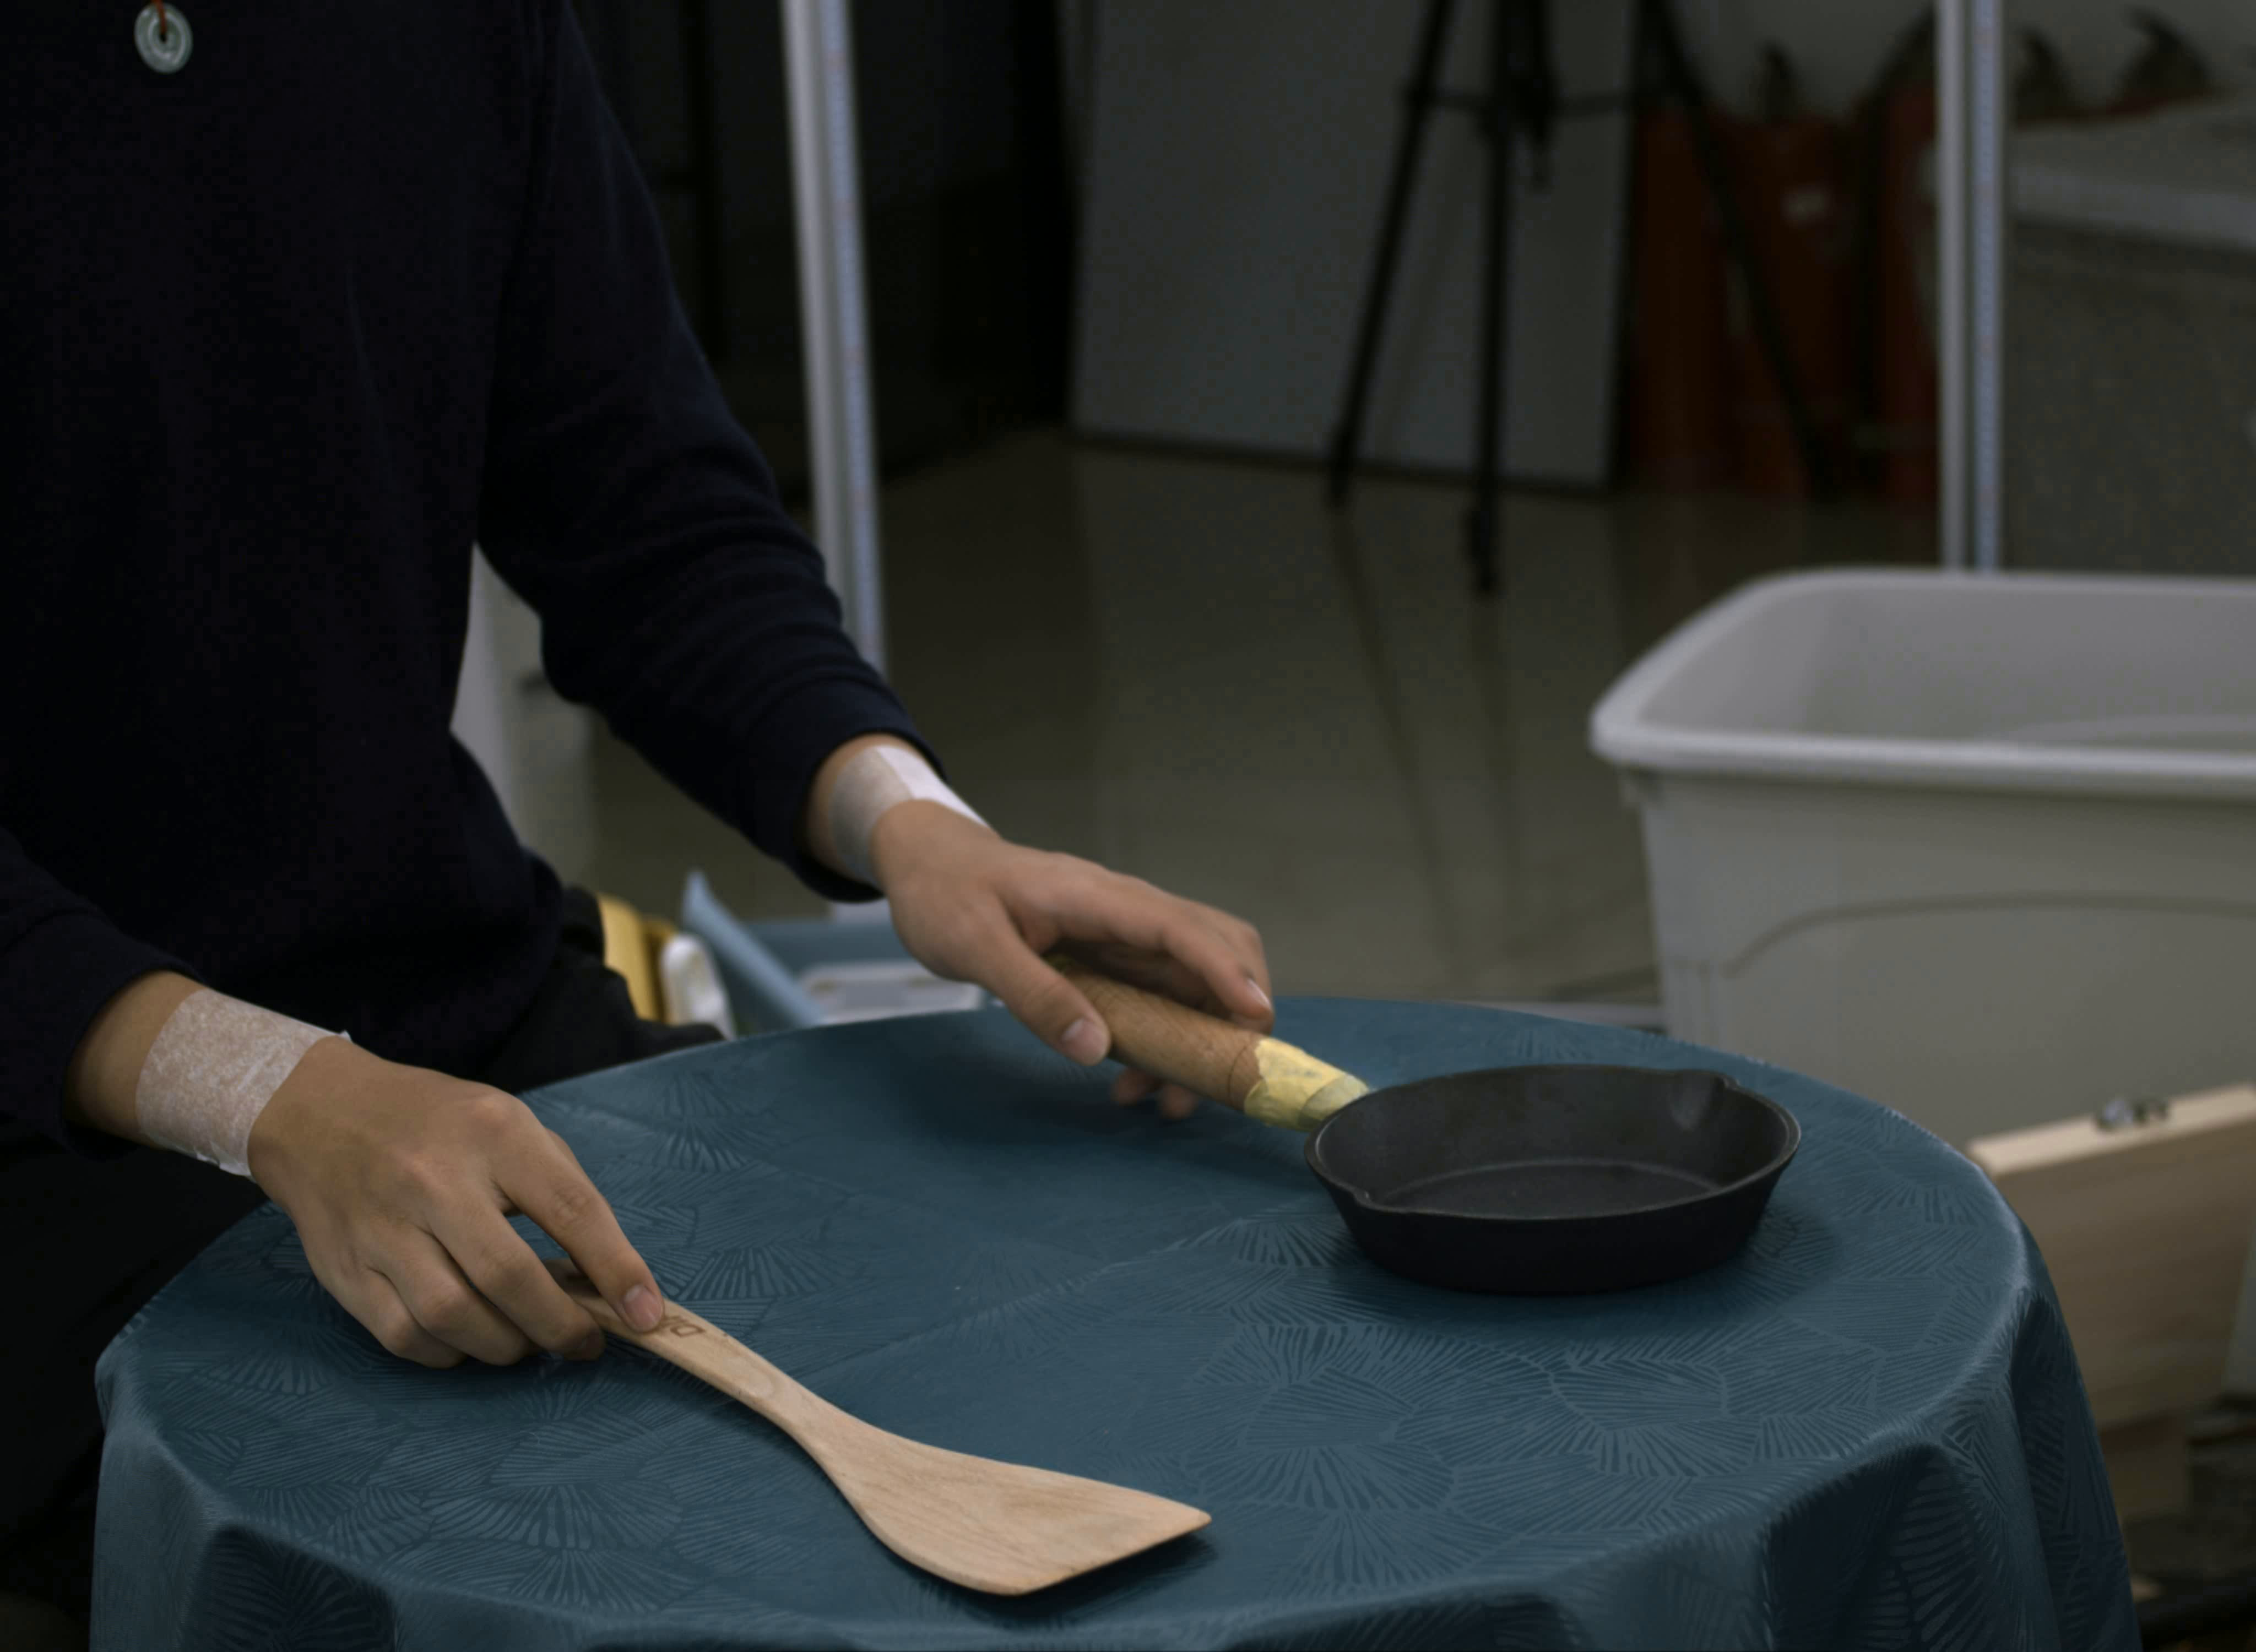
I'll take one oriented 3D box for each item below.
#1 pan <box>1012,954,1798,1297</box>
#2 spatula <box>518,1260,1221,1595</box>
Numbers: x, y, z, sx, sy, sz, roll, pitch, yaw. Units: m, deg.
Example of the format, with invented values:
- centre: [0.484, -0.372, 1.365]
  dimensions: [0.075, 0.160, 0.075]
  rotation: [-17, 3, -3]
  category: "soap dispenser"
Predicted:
- centre: [0.077, 0.093, 1.757]
  dimensions: [0.165, 0.050, 0.327]
  rotation: [-16, 19, -40]
  category: "pan"
- centre: [-0.089, 0.168, 1.562]
  dimensions: [0.078, 0.017, 0.331]
  rotation: [-10, 18, -33]
  category: "spatula"
